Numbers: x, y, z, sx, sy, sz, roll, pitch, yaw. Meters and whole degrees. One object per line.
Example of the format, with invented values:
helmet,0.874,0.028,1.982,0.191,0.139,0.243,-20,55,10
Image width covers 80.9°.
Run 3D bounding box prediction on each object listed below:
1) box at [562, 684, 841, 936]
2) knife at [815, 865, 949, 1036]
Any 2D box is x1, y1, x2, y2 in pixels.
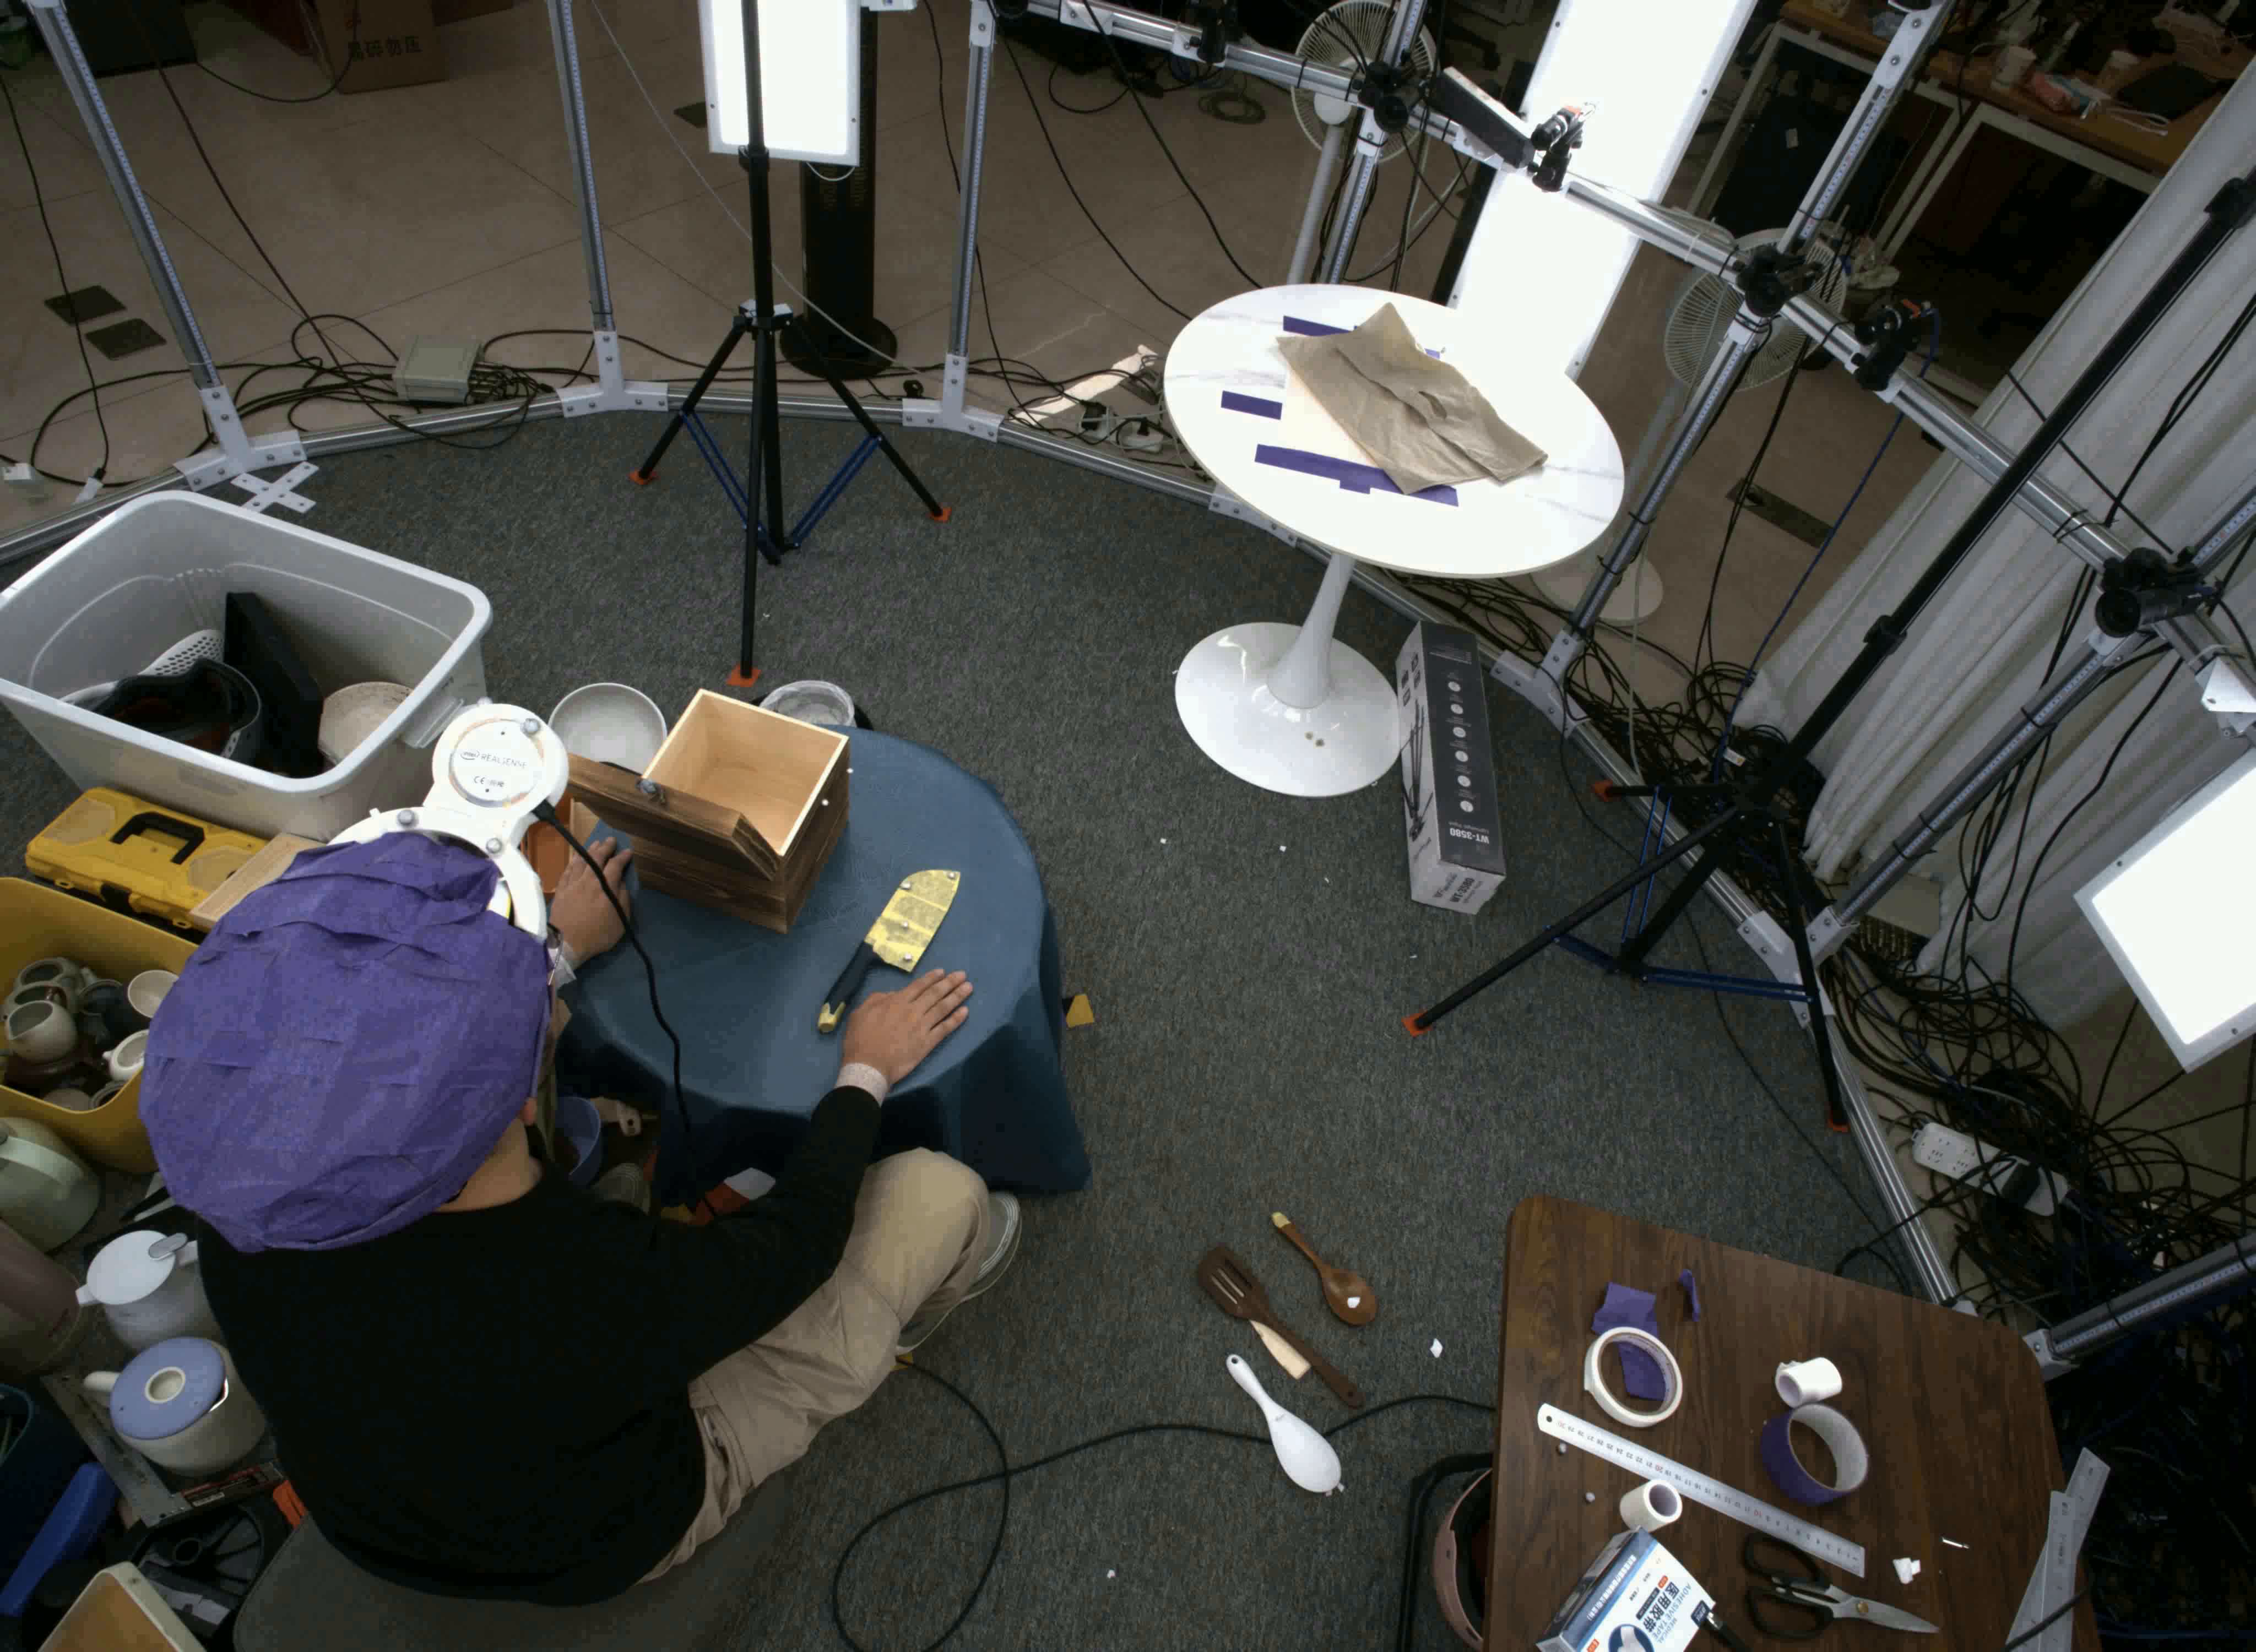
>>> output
box,-0.484,-0.041,1.501,0.207,0.383,0.318,17,52,0
knife,-0.304,0.149,1.630,0.080,0.028,0.287,24,51,7
